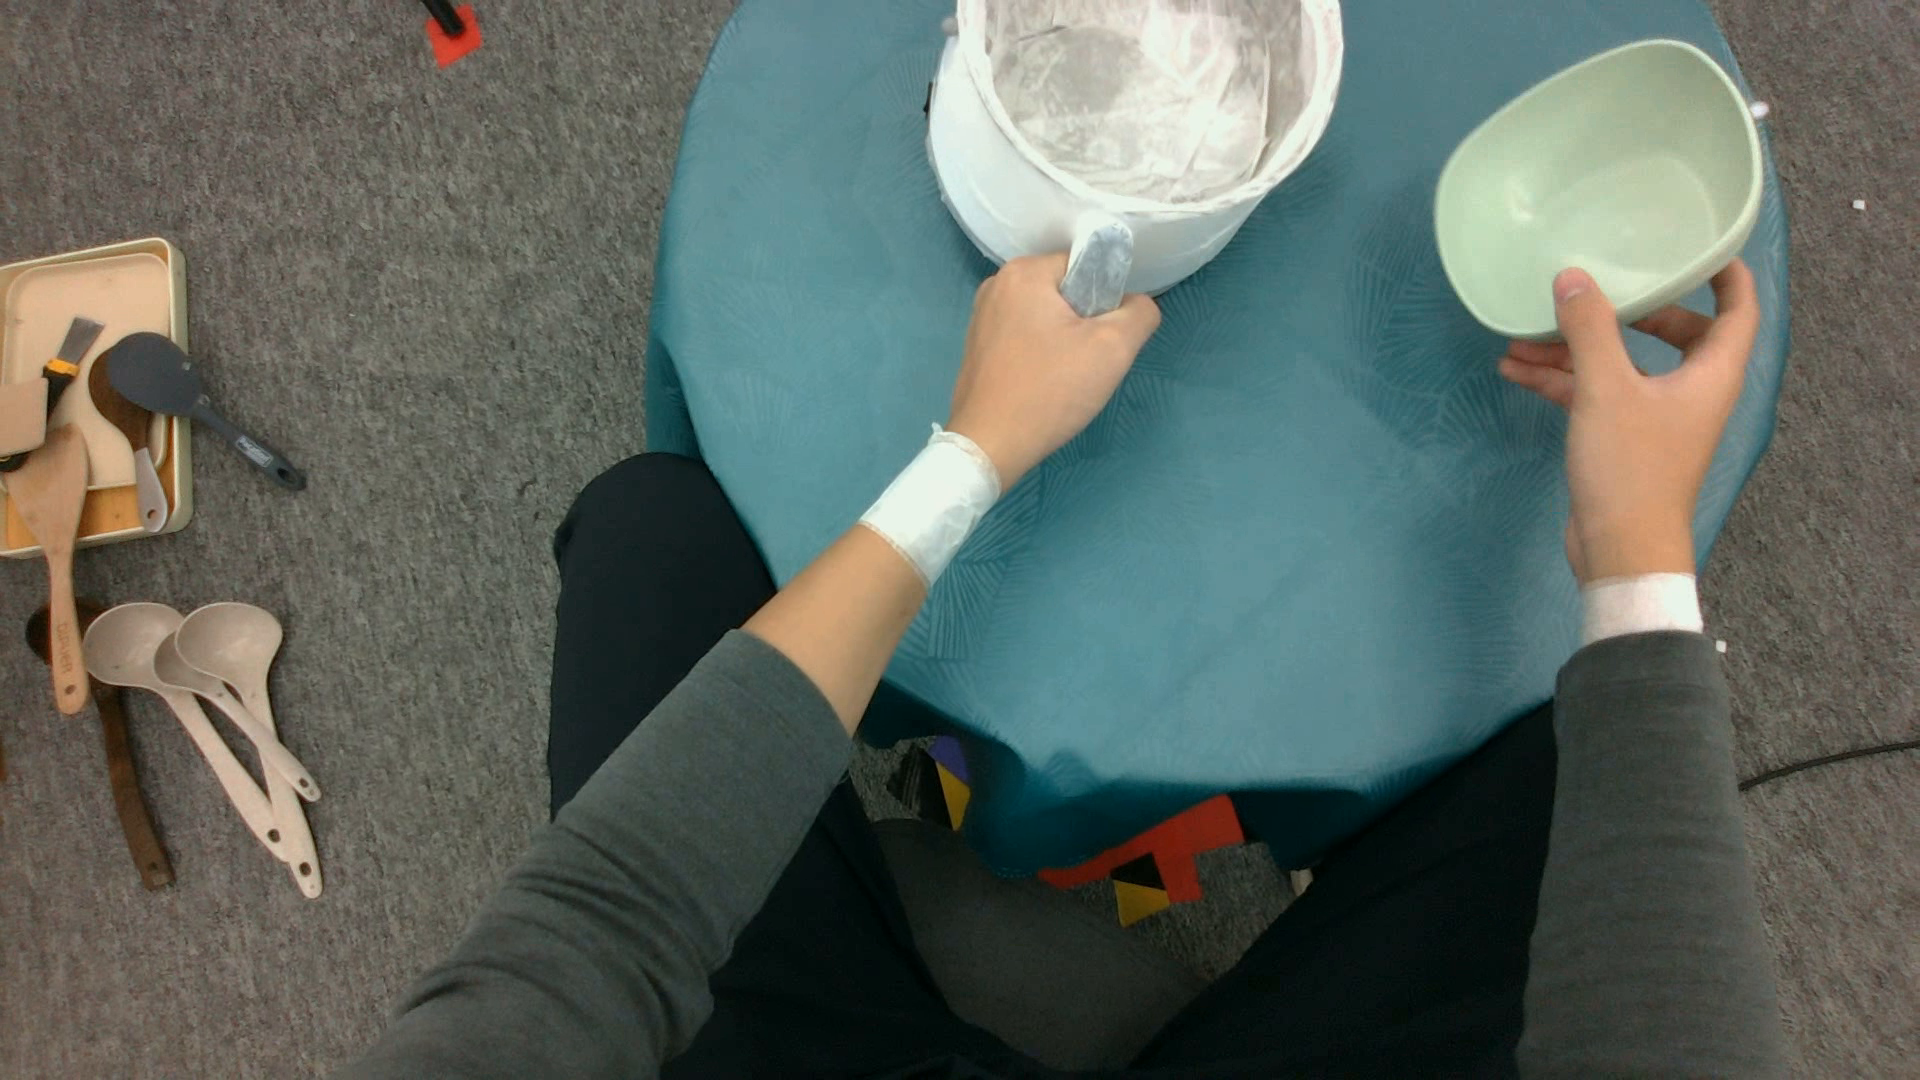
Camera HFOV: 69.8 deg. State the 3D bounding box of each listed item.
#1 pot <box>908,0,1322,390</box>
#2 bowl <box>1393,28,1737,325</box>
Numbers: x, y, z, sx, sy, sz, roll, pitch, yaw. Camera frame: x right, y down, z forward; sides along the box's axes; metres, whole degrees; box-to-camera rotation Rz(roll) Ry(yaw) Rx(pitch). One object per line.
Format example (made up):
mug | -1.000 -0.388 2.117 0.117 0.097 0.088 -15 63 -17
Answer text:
pot | 0.064 -0.194 0.673 0.179 0.136 0.234 12 78 -7
bowl | 0.281 -0.157 0.639 0.151 0.058 0.152 -16 59 28
